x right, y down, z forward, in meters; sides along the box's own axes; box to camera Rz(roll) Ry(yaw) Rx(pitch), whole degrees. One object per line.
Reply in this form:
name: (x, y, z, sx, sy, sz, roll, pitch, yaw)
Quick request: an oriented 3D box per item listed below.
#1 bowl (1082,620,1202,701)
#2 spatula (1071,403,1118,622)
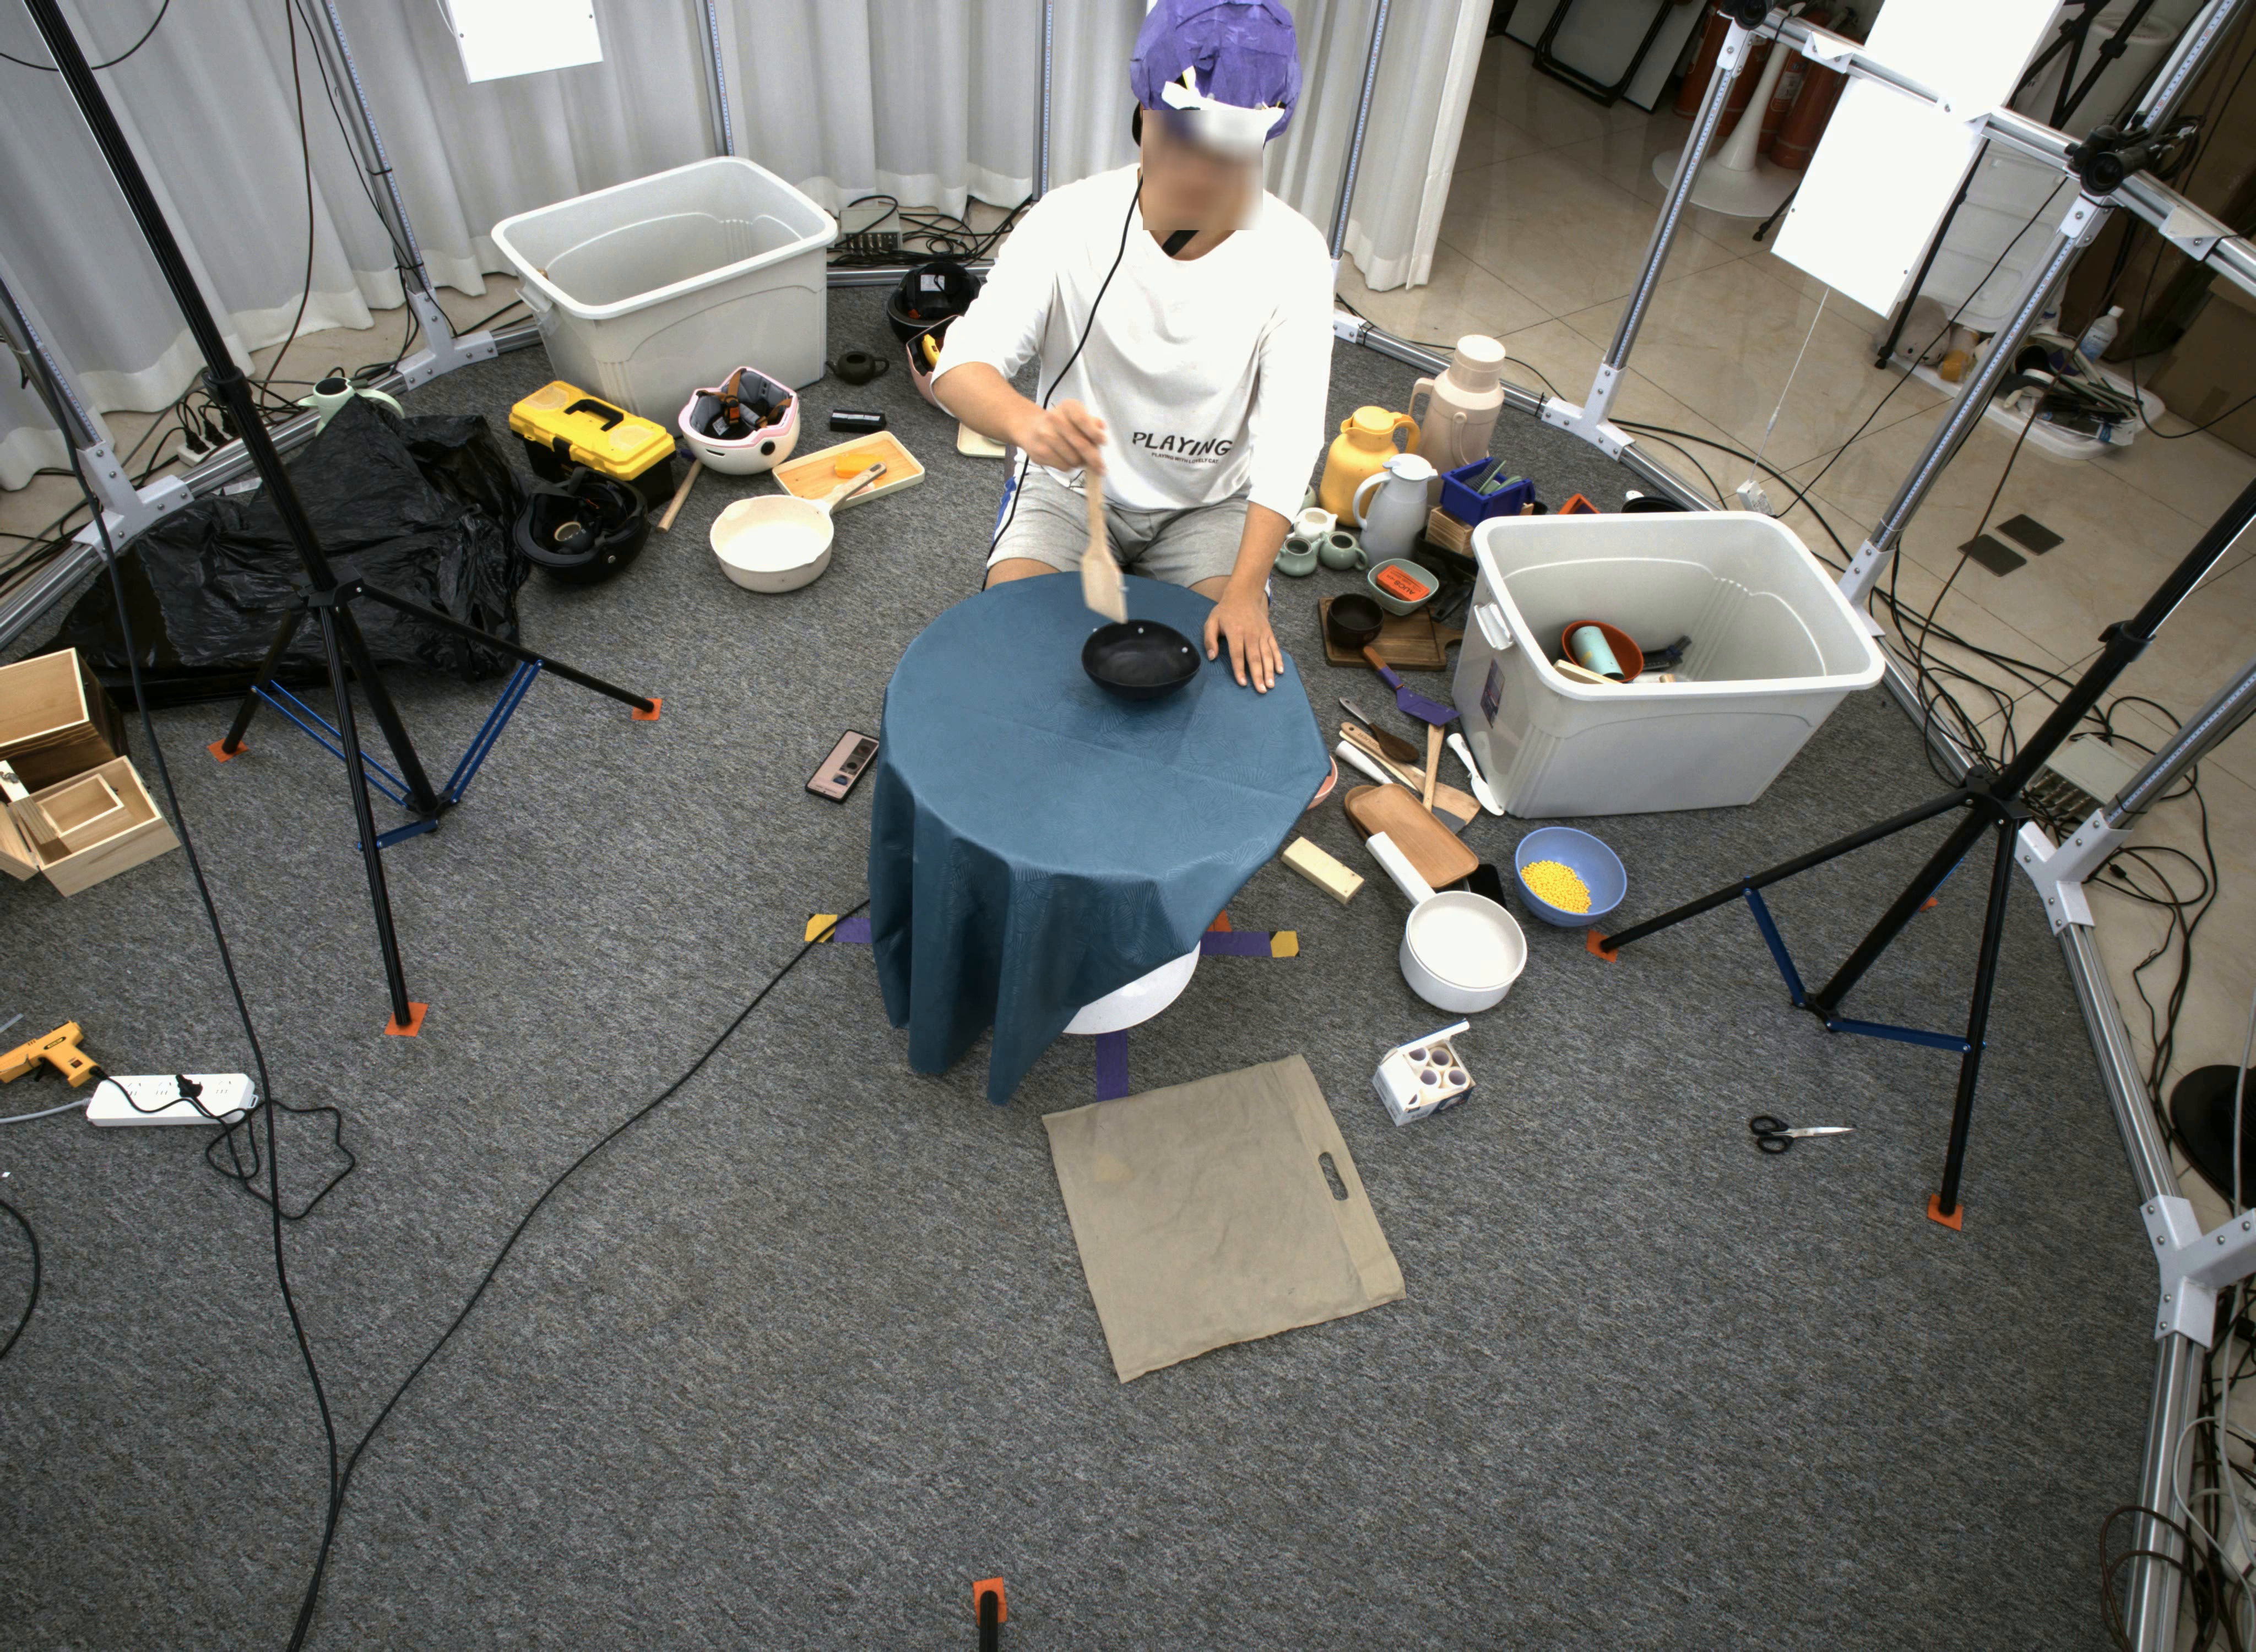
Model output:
bowl: (0.018, -0.225, 1.820, 0.170, 0.065, 0.141, -3, 49, -10)
spatula: (-0.047, -0.391, 1.628, 0.011, 0.286, 0.073, -33, 47, -30)
